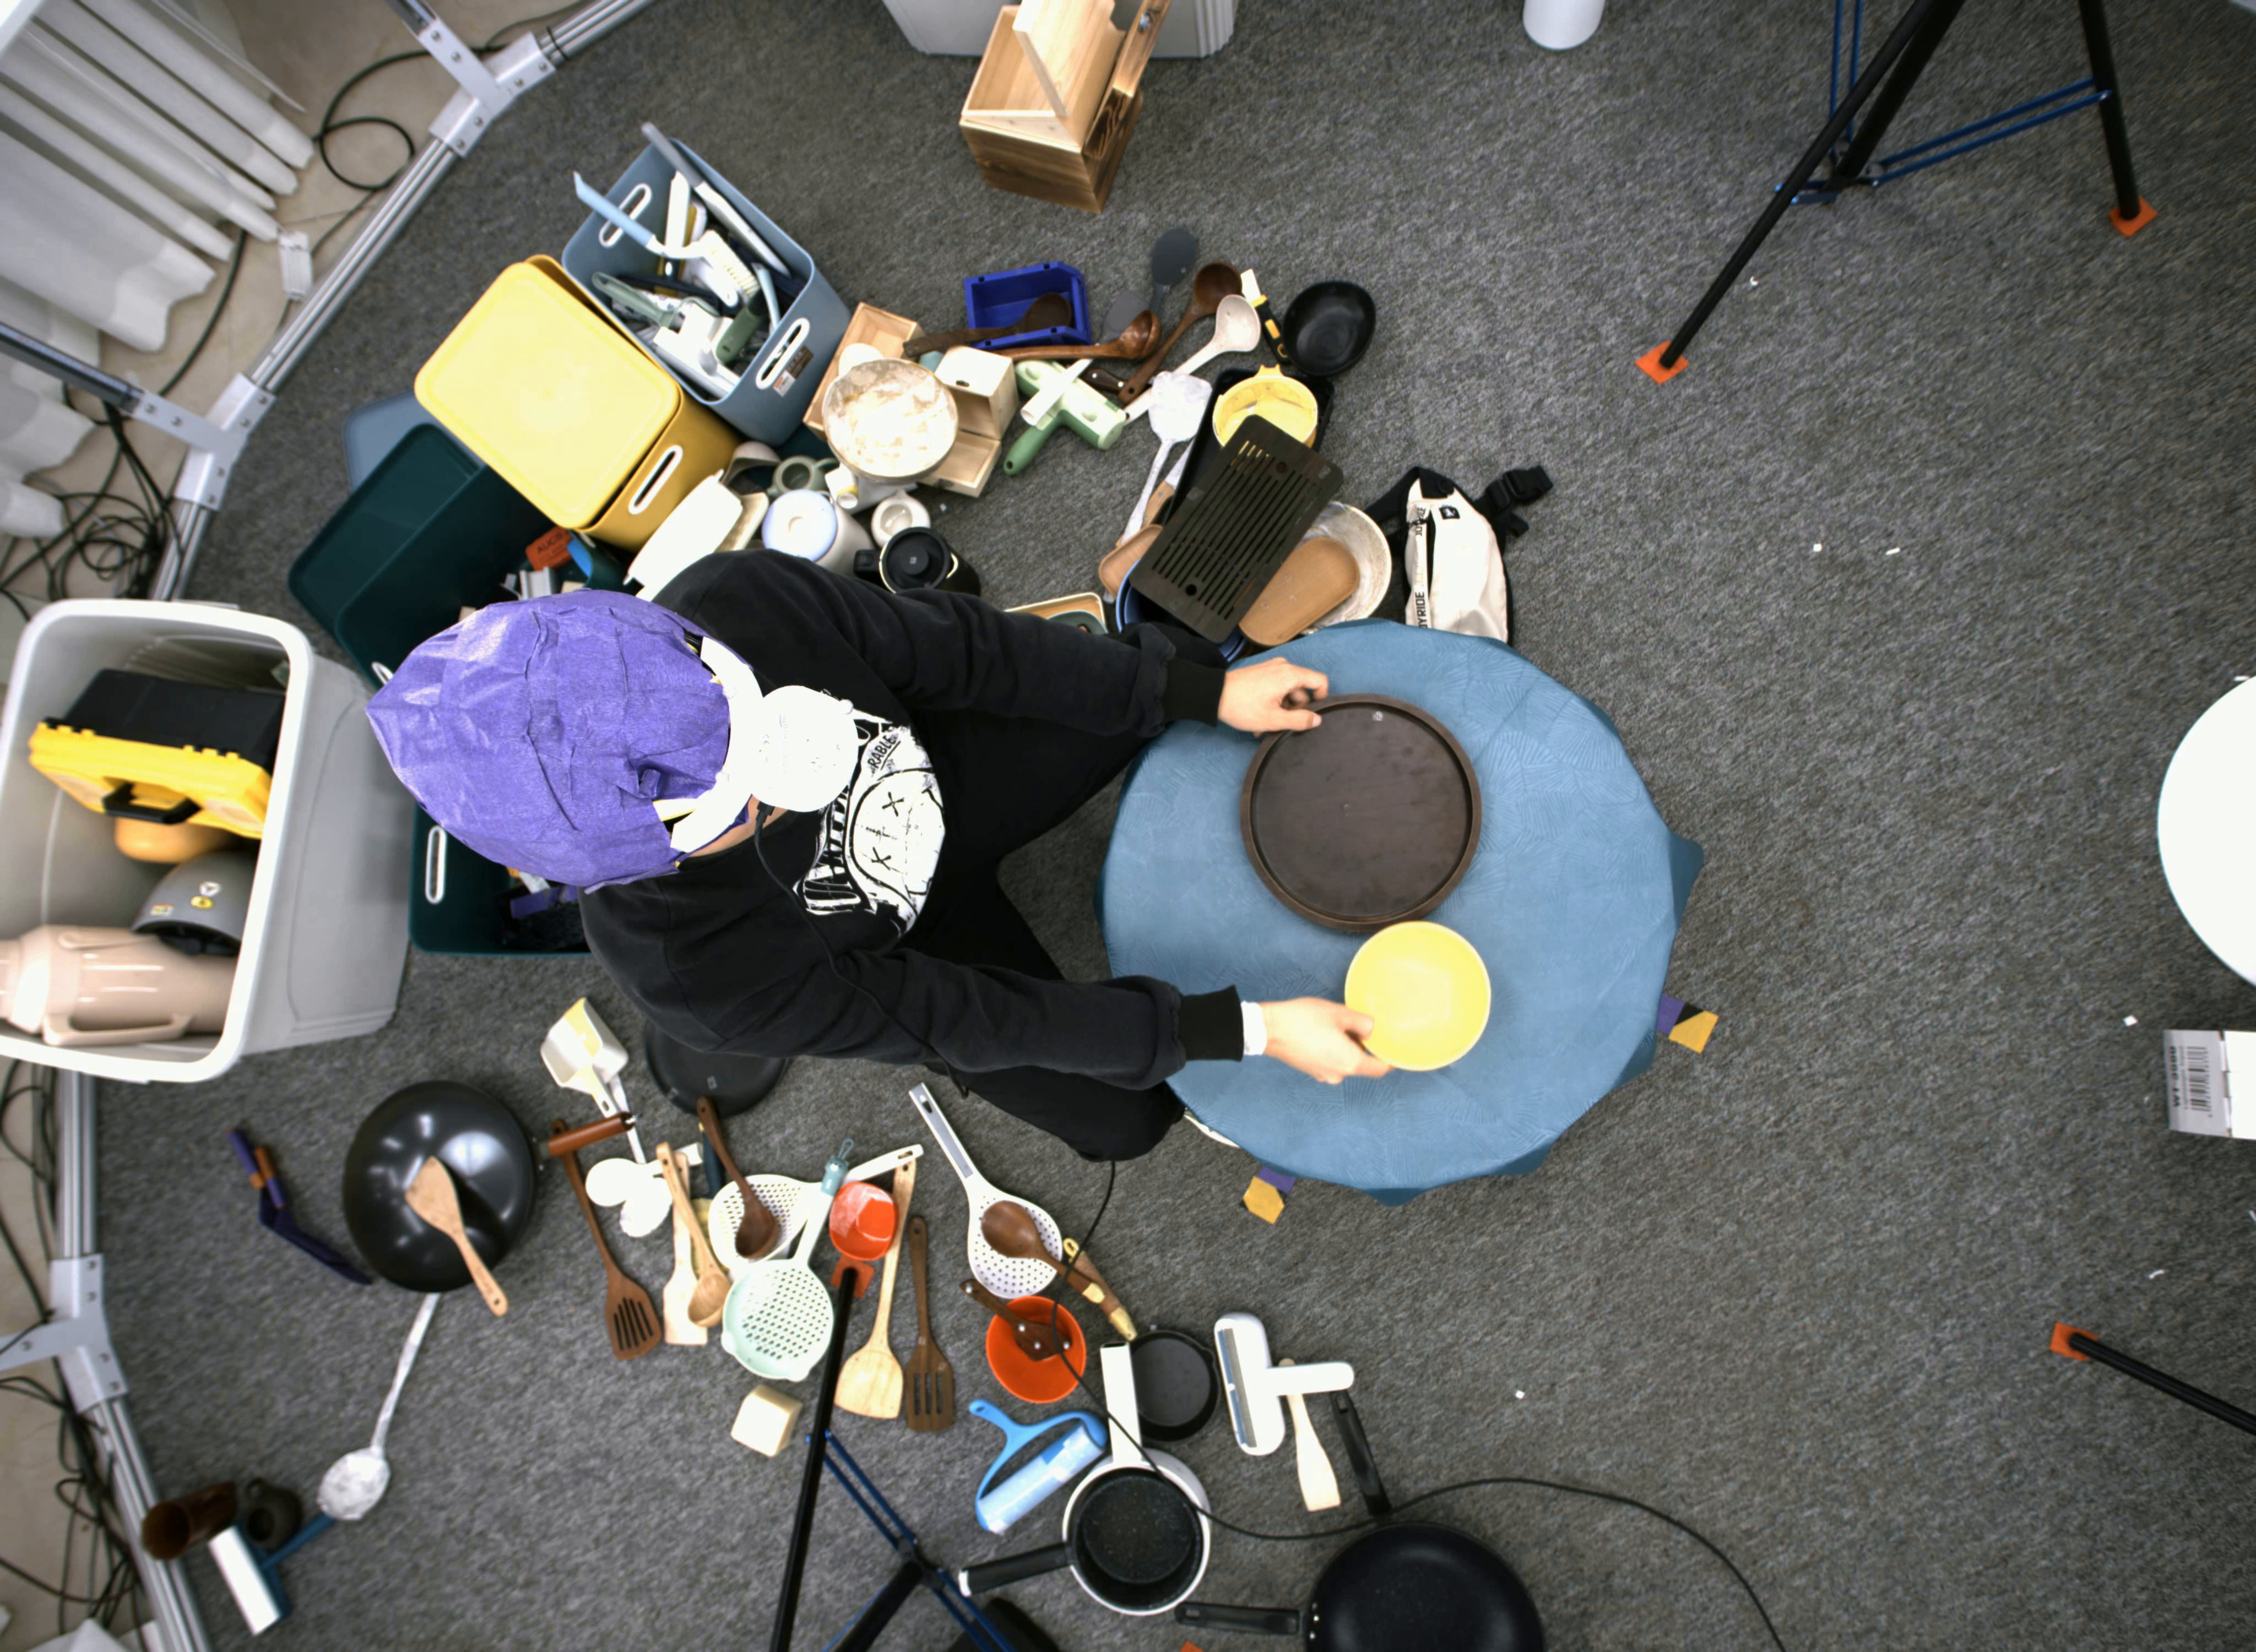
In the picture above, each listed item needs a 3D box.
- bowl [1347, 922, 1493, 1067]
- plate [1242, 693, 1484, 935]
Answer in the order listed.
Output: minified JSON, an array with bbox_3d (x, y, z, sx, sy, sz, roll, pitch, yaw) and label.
[{"bbox_3d":[0.293,0.171,1.402,0.146,0.060,0.144,-1,82,6],"label":"bowl"},{"bbox_3d":[0.246,-0.013,1.455,0.255,0.029,0.254,0,90,8],"label":"plate"}]
